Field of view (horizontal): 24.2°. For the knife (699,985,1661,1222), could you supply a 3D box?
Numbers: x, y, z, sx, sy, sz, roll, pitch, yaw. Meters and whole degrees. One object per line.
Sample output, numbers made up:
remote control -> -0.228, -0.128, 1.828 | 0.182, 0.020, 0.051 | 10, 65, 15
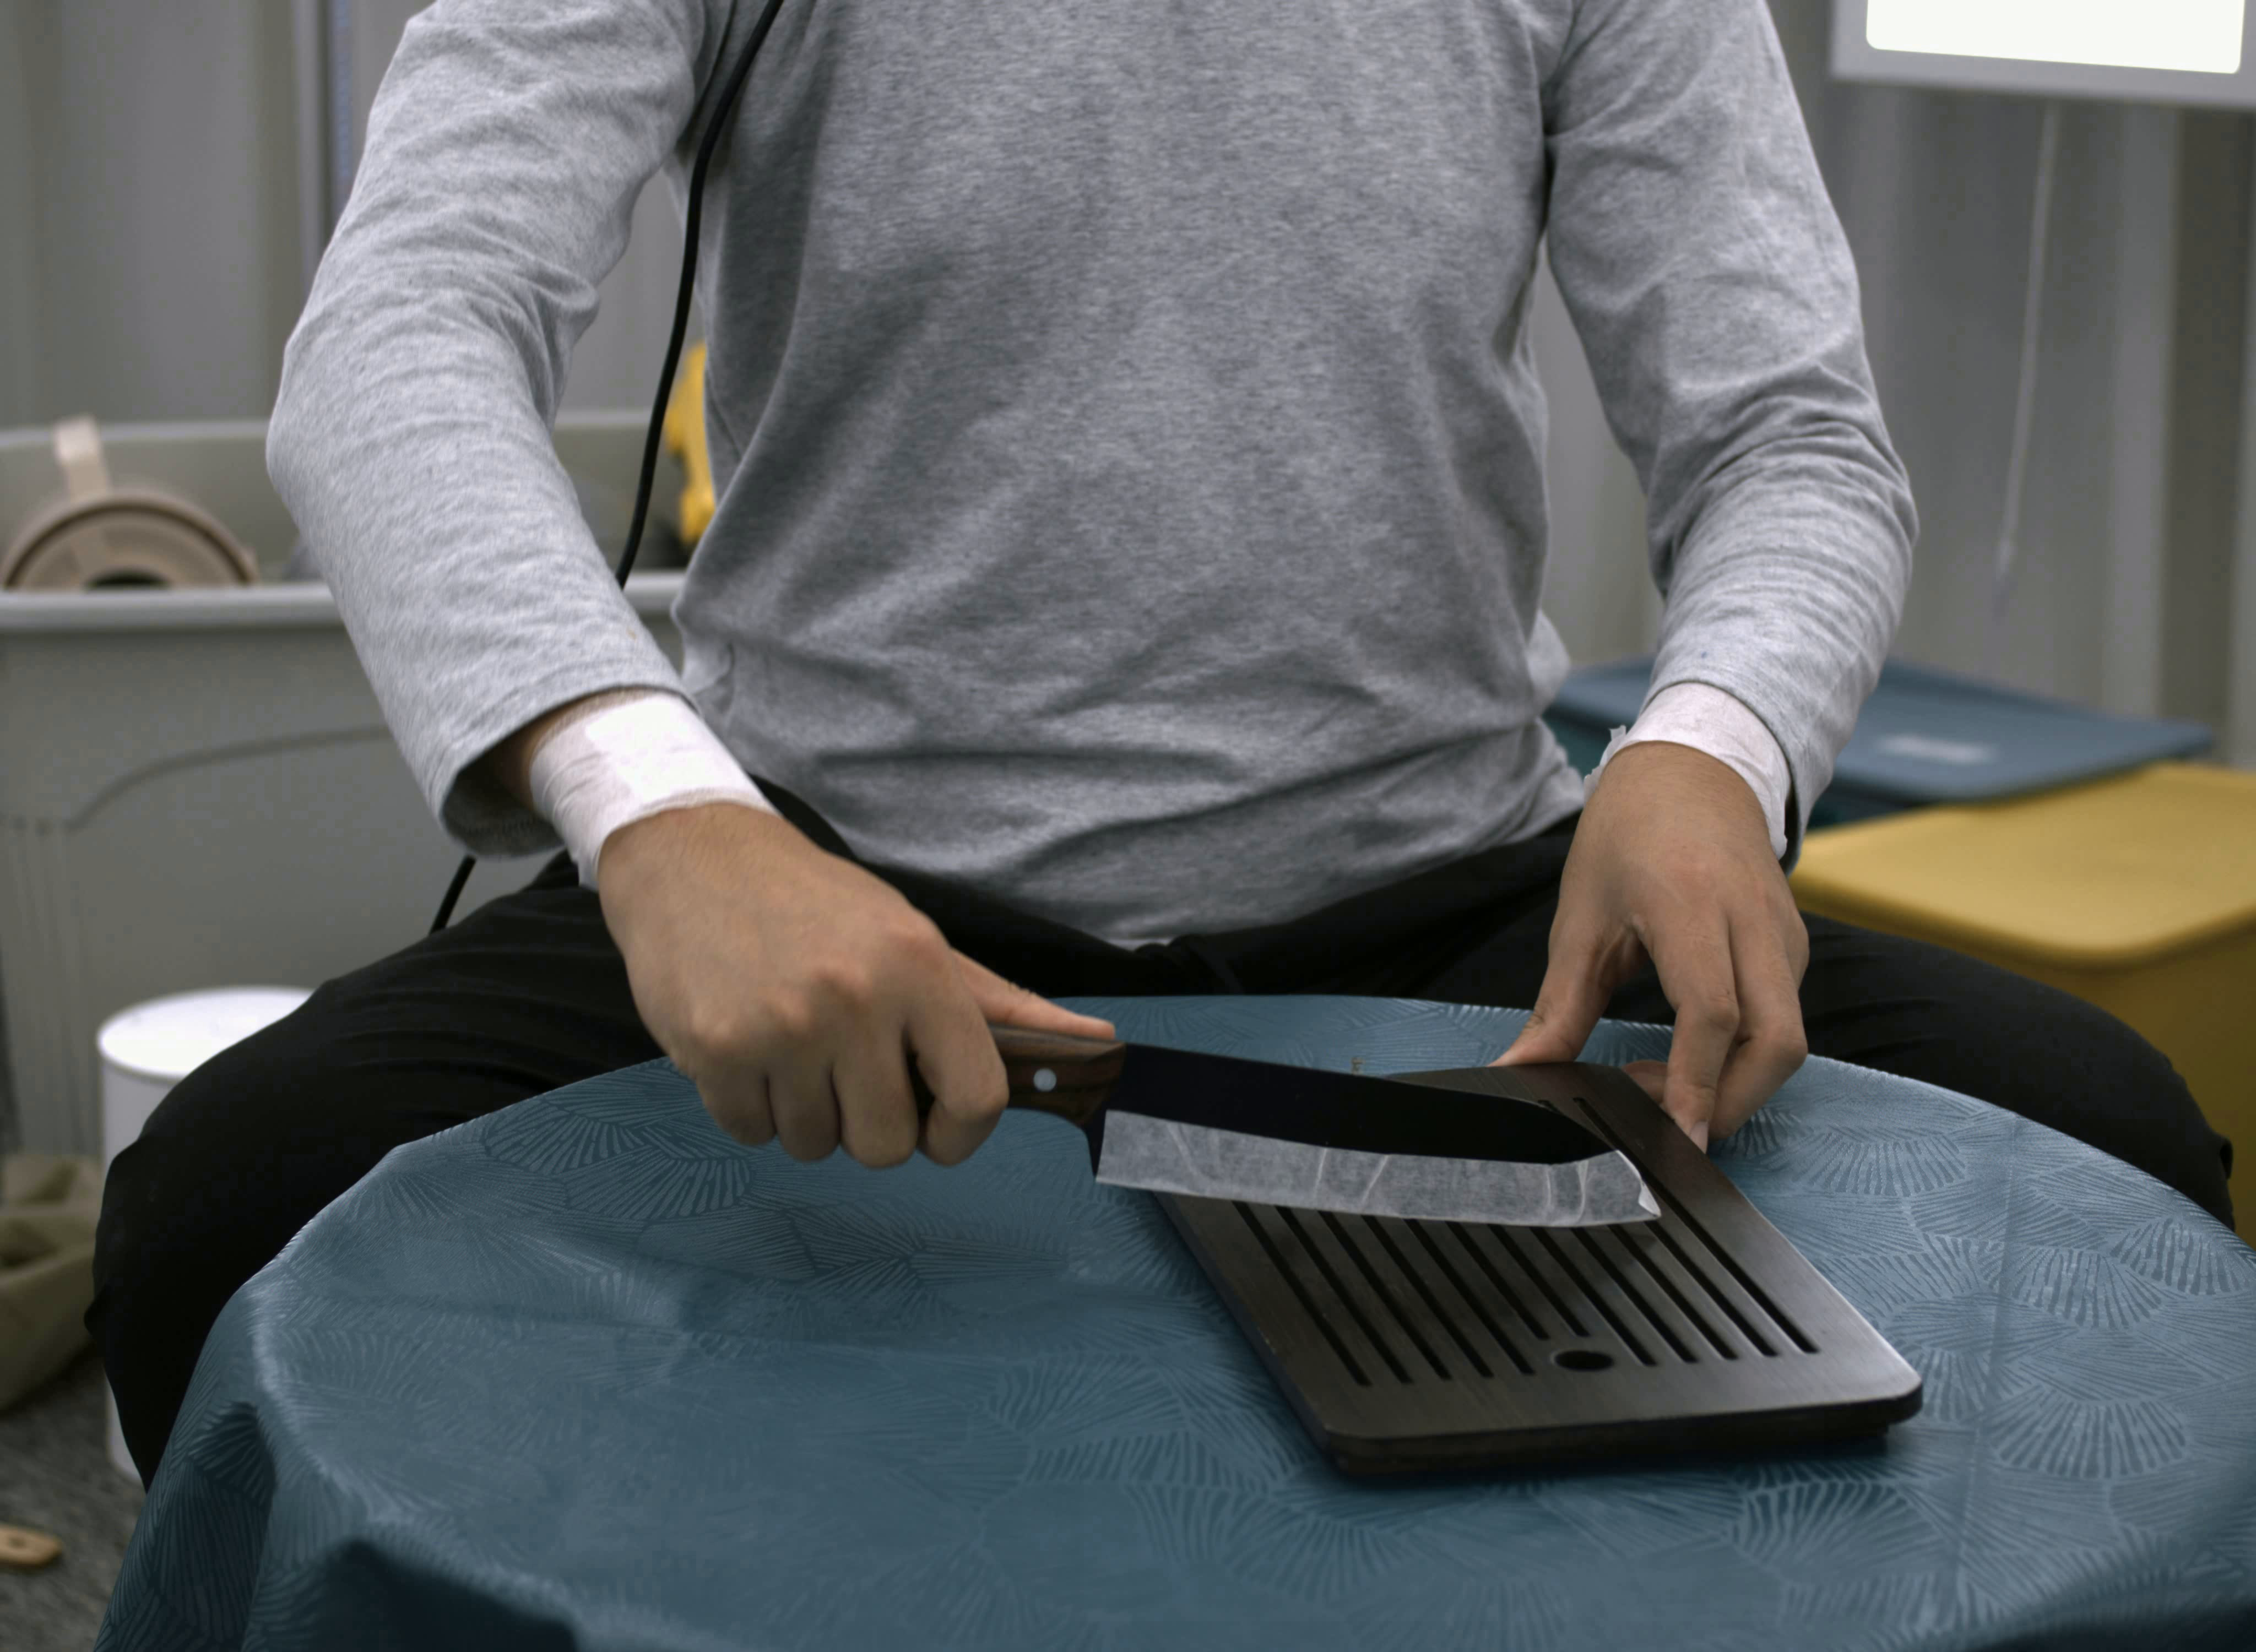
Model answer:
knife -> 0.015, 0.082, 1.544 | 0.288, 0.050, 0.020 | 11, 18, -1

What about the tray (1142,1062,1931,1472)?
tray -> 0.107, 0.126, 1.548 | 0.170, 0.019, 0.303 | -3, 15, -11
